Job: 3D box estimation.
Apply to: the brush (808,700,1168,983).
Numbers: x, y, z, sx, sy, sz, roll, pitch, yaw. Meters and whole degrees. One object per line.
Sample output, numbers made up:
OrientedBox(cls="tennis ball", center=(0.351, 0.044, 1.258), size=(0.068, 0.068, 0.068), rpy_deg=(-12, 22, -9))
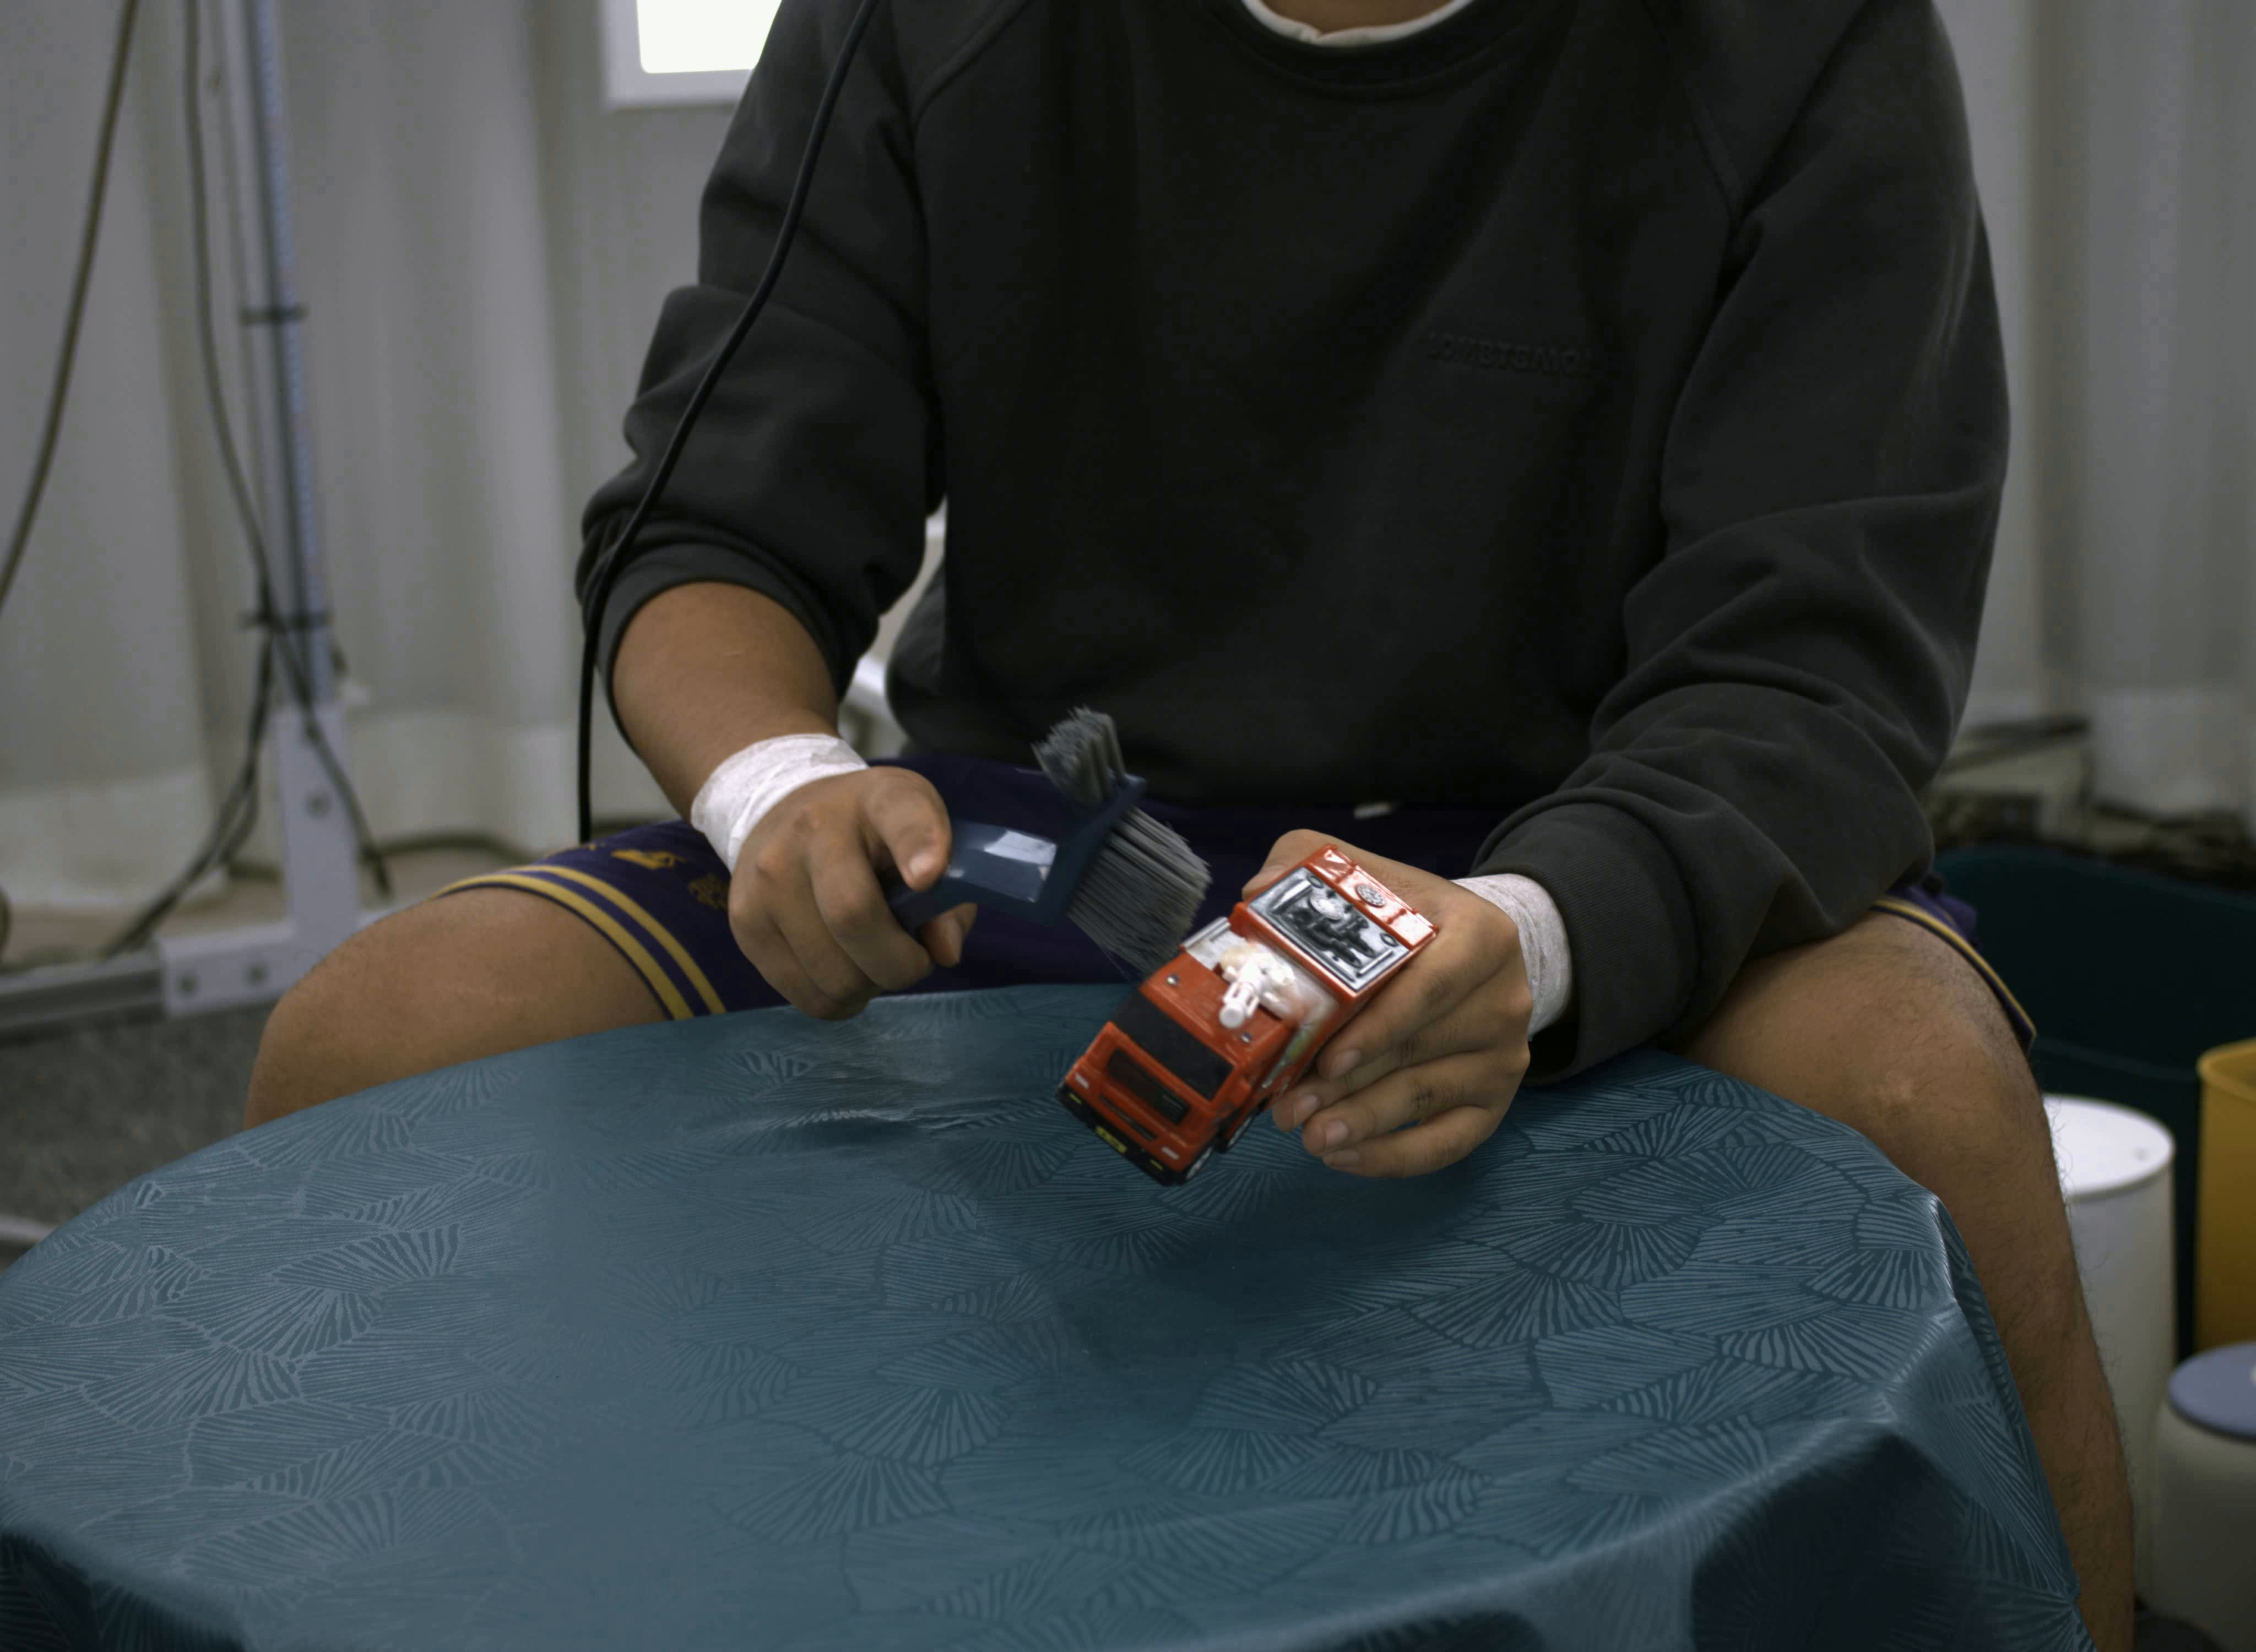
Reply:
OrientedBox(cls="brush", center=(-0.057, 0.009, 1.720), size=(0.034, 0.095, 0.273), rpy_deg=(-51, 17, -21))

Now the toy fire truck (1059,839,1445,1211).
OrientedBox(cls="toy fire truck", center=(0.038, 0.056, 1.603), size=(0.054, 0.070, 0.168), rpy_deg=(38, 25, 10))
